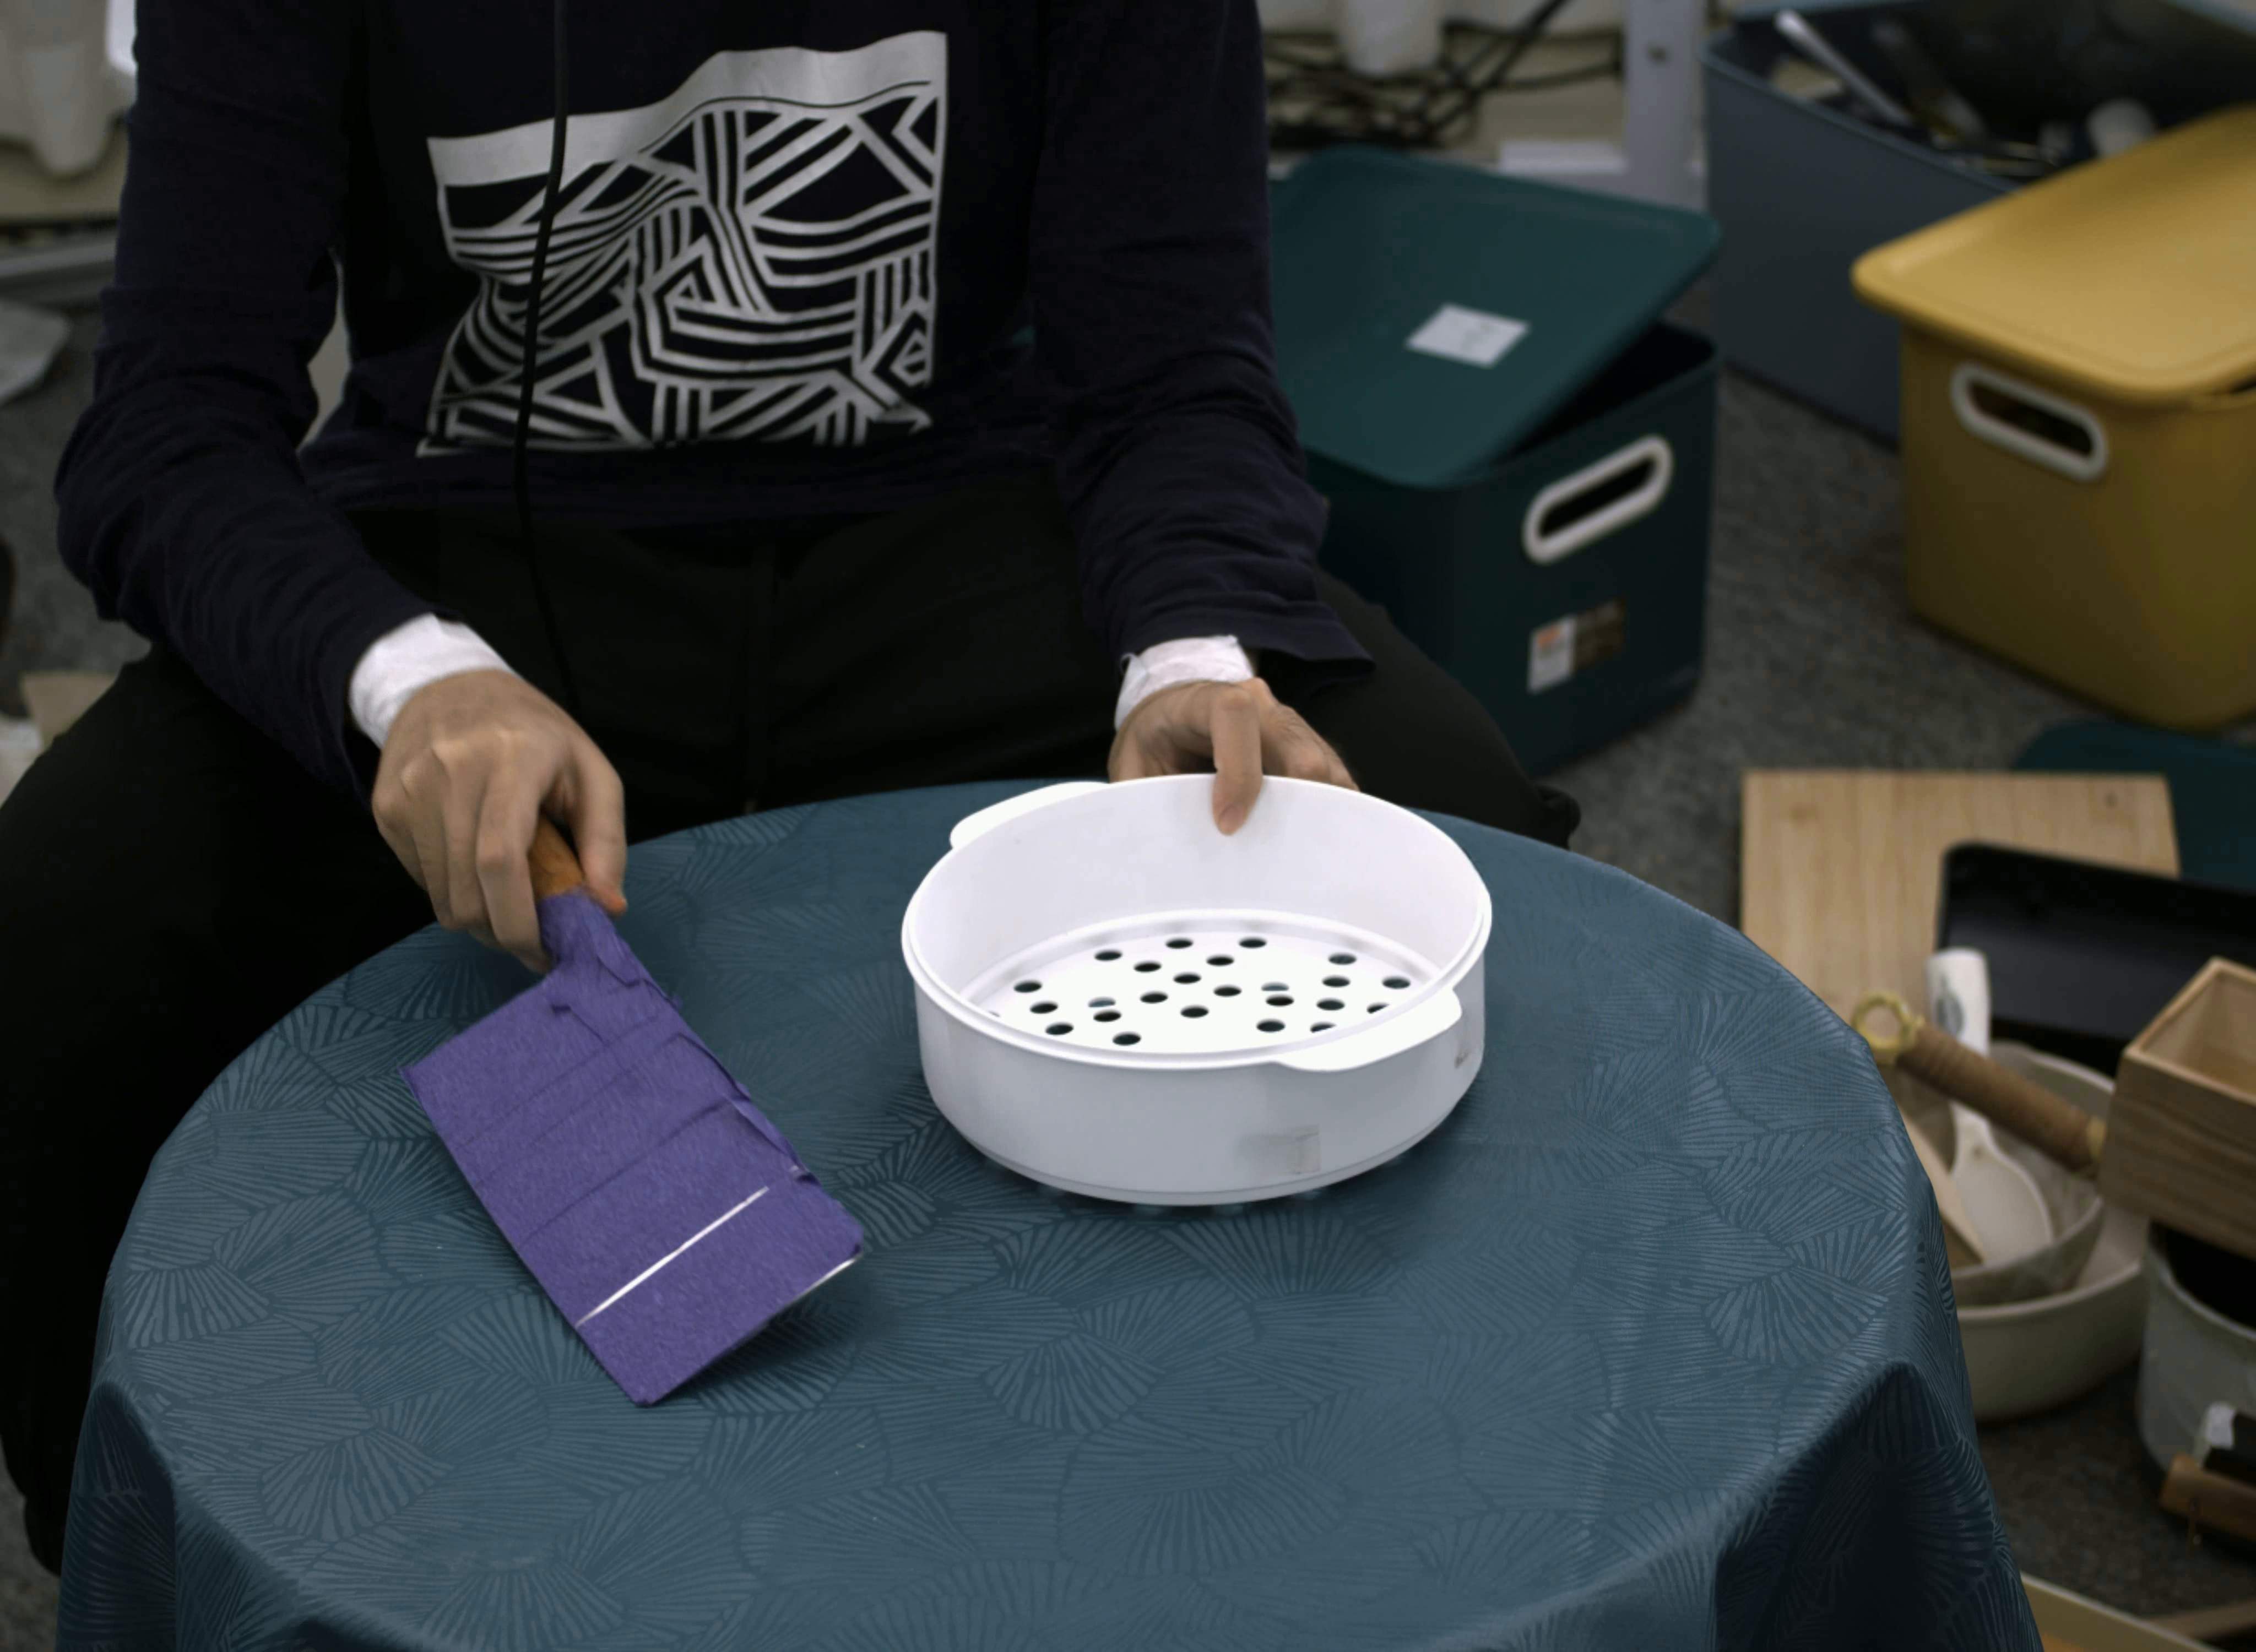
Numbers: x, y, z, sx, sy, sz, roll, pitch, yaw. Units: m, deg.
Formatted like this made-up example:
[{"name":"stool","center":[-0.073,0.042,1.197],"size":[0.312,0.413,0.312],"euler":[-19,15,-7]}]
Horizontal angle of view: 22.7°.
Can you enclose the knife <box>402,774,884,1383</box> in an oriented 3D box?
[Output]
[{"name":"knife","center":[-0.190,0.080,1.879],"size":[0.104,0.032,0.317],"euler":[-33,38,-10]}]

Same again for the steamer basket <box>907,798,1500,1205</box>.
[{"name":"steamer basket","center":[0.027,0.060,1.909],"size":[0.203,0.068,0.231],"euler":[-19,28,-31]}]
